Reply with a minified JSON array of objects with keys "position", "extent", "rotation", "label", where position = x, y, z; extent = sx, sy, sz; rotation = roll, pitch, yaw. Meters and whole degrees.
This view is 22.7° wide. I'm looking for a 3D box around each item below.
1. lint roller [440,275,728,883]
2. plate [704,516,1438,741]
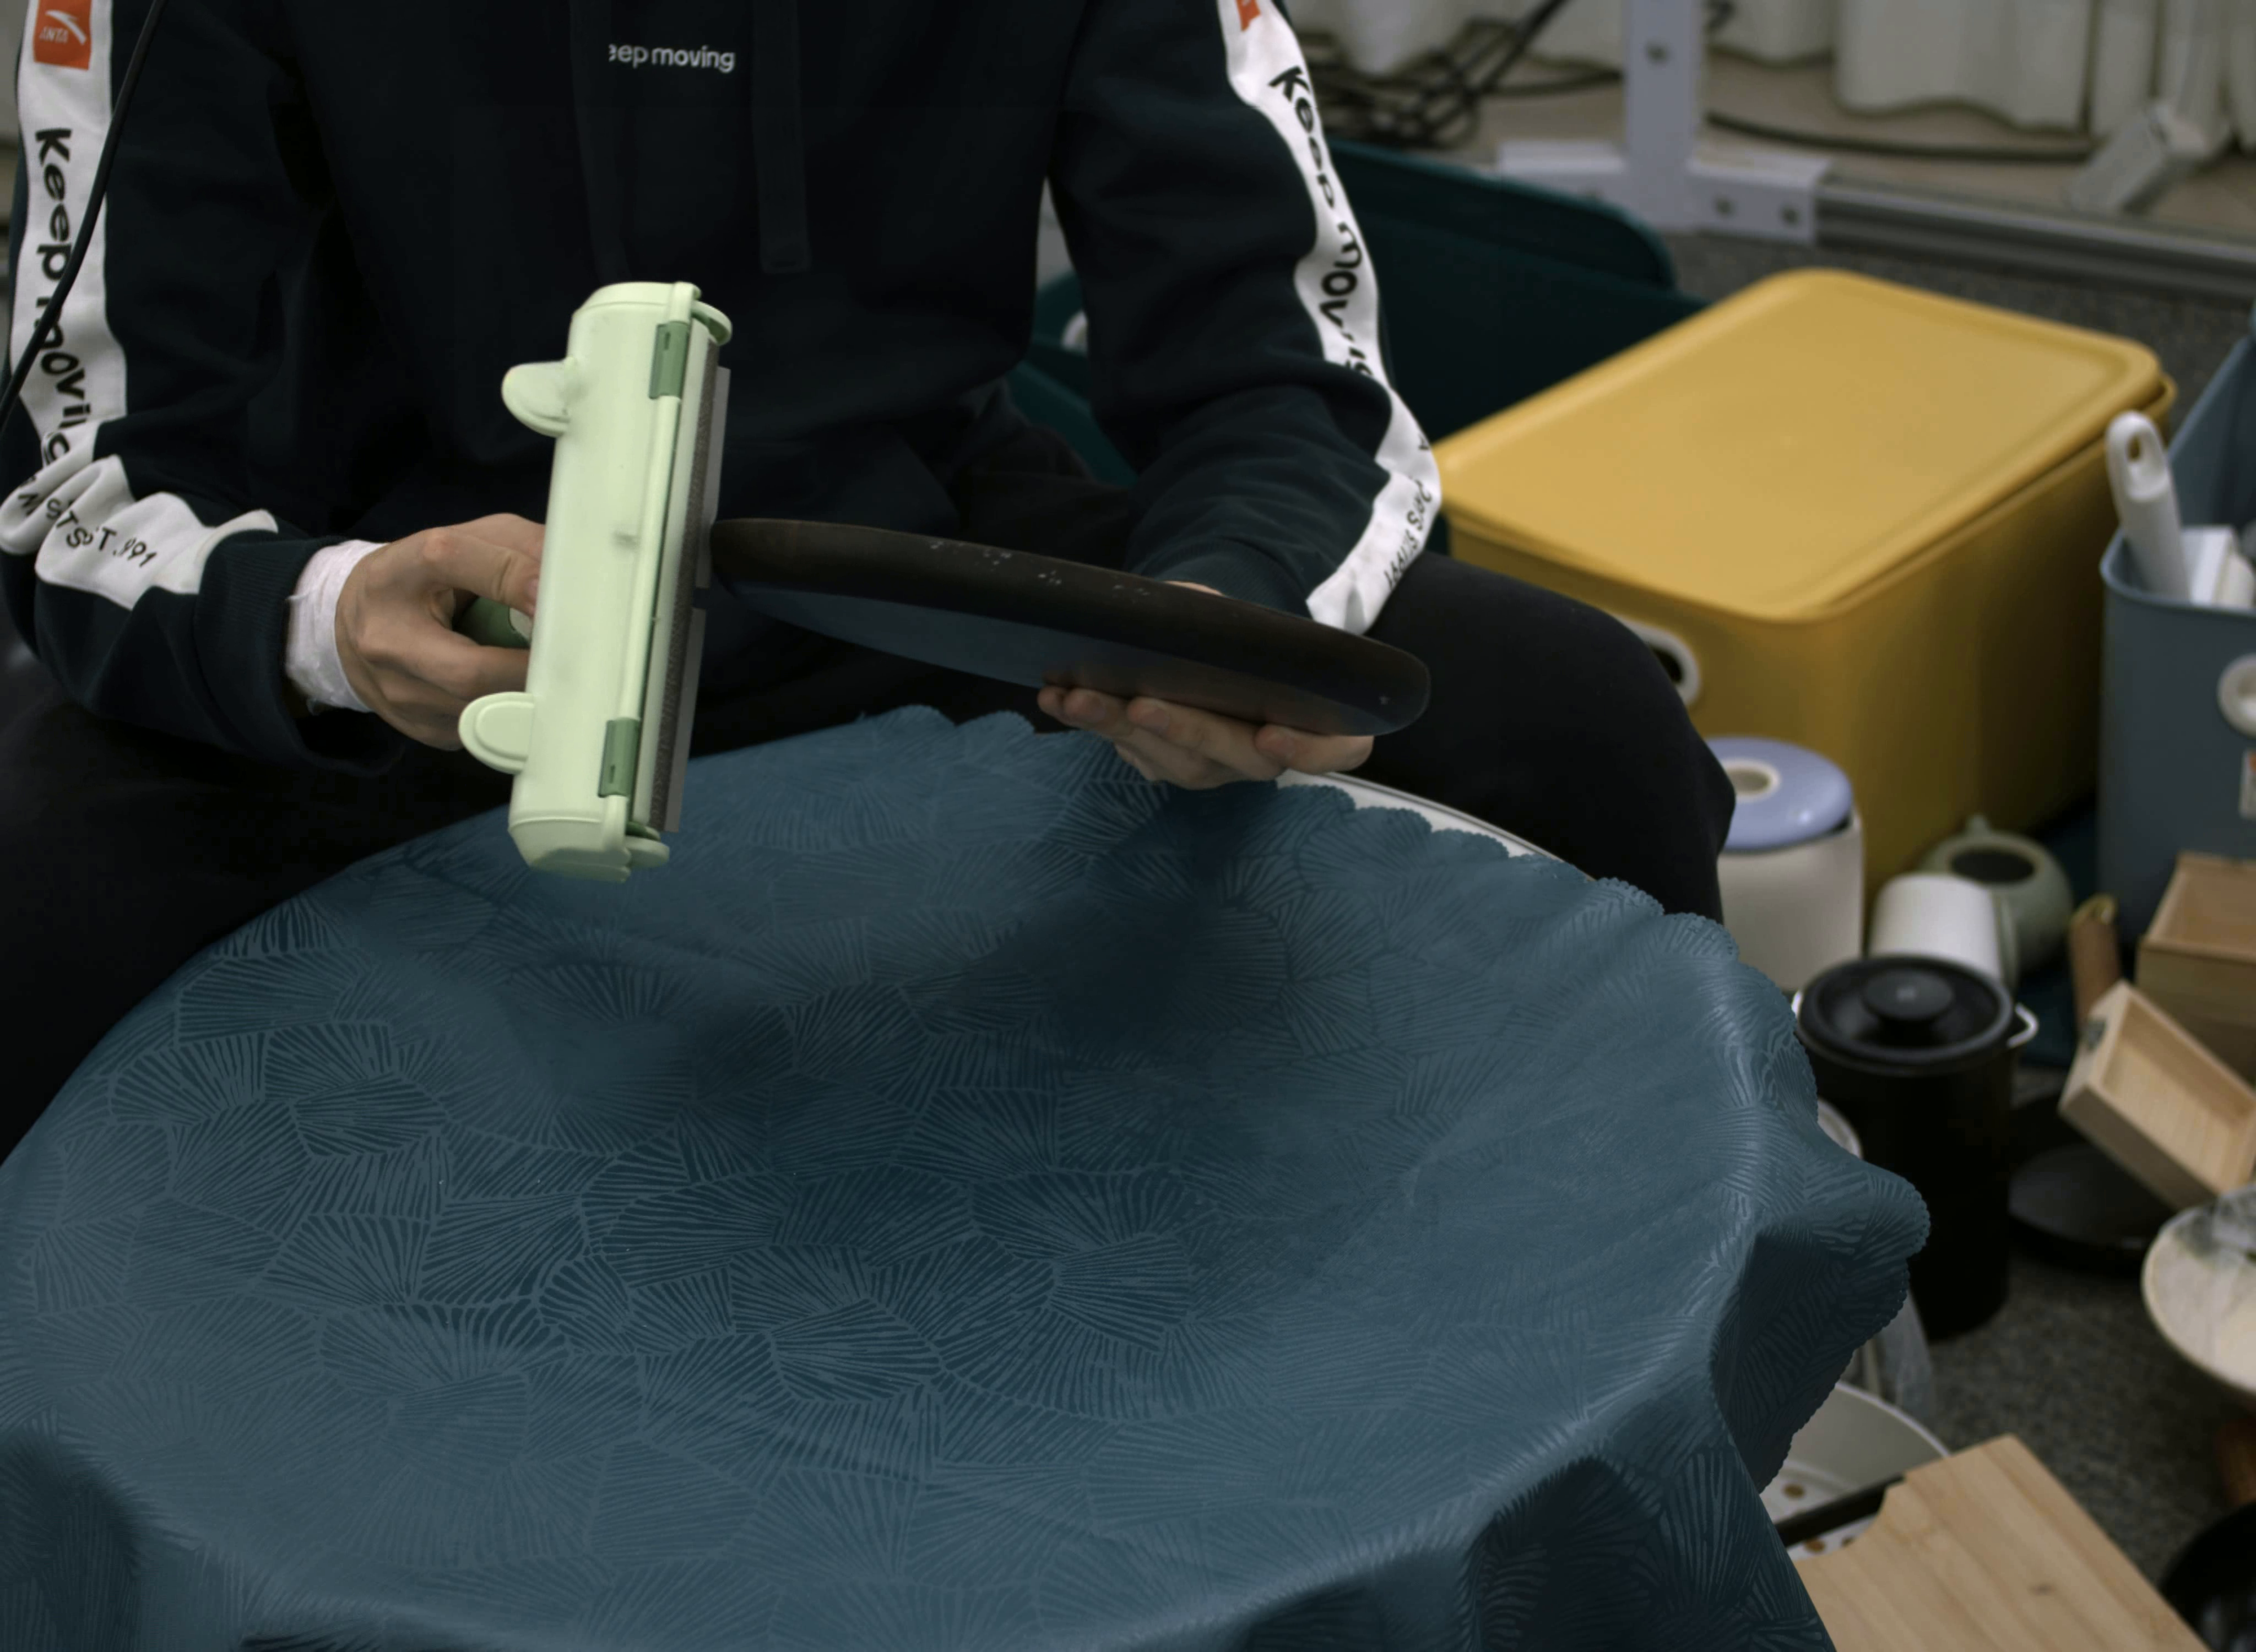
[{"position":[-0.206,-0.076,1.895],"extent":[0.082,0.201,0.181],"rotation":[16,-17,-35],"label":"lint roller"},{"position":[-0.020,-0.065,1.895],"extent":[0.253,0.029,0.254],"rotation":[11,-3,1],"label":"plate"}]
